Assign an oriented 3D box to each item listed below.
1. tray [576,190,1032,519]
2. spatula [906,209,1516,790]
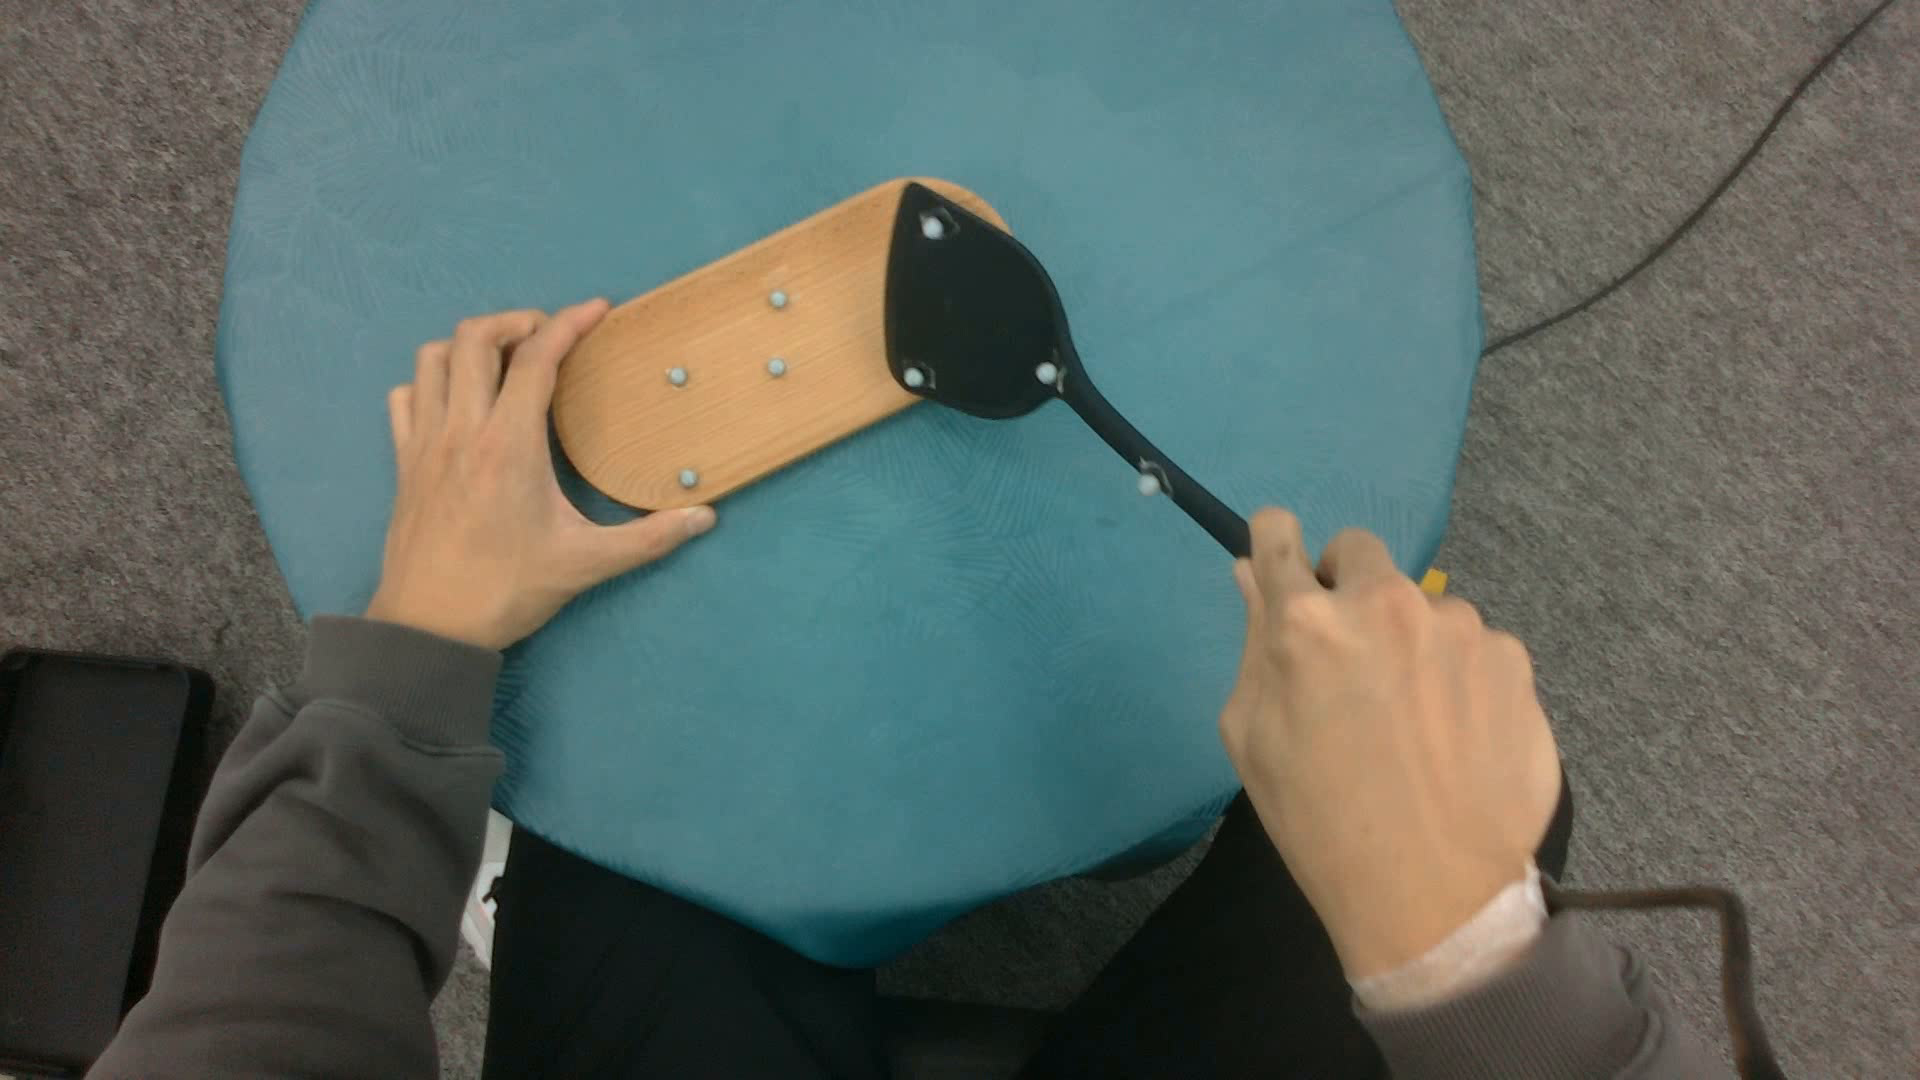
[{"bbox_3d":[-0.072,-0.089,0.661,0.231,0.020,0.102,-27,84,-7],"label":"tray"},{"bbox_3d":[0.078,-0.017,0.529,0.040,0.099,0.326,-18,47,-27],"label":"spatula"}]
